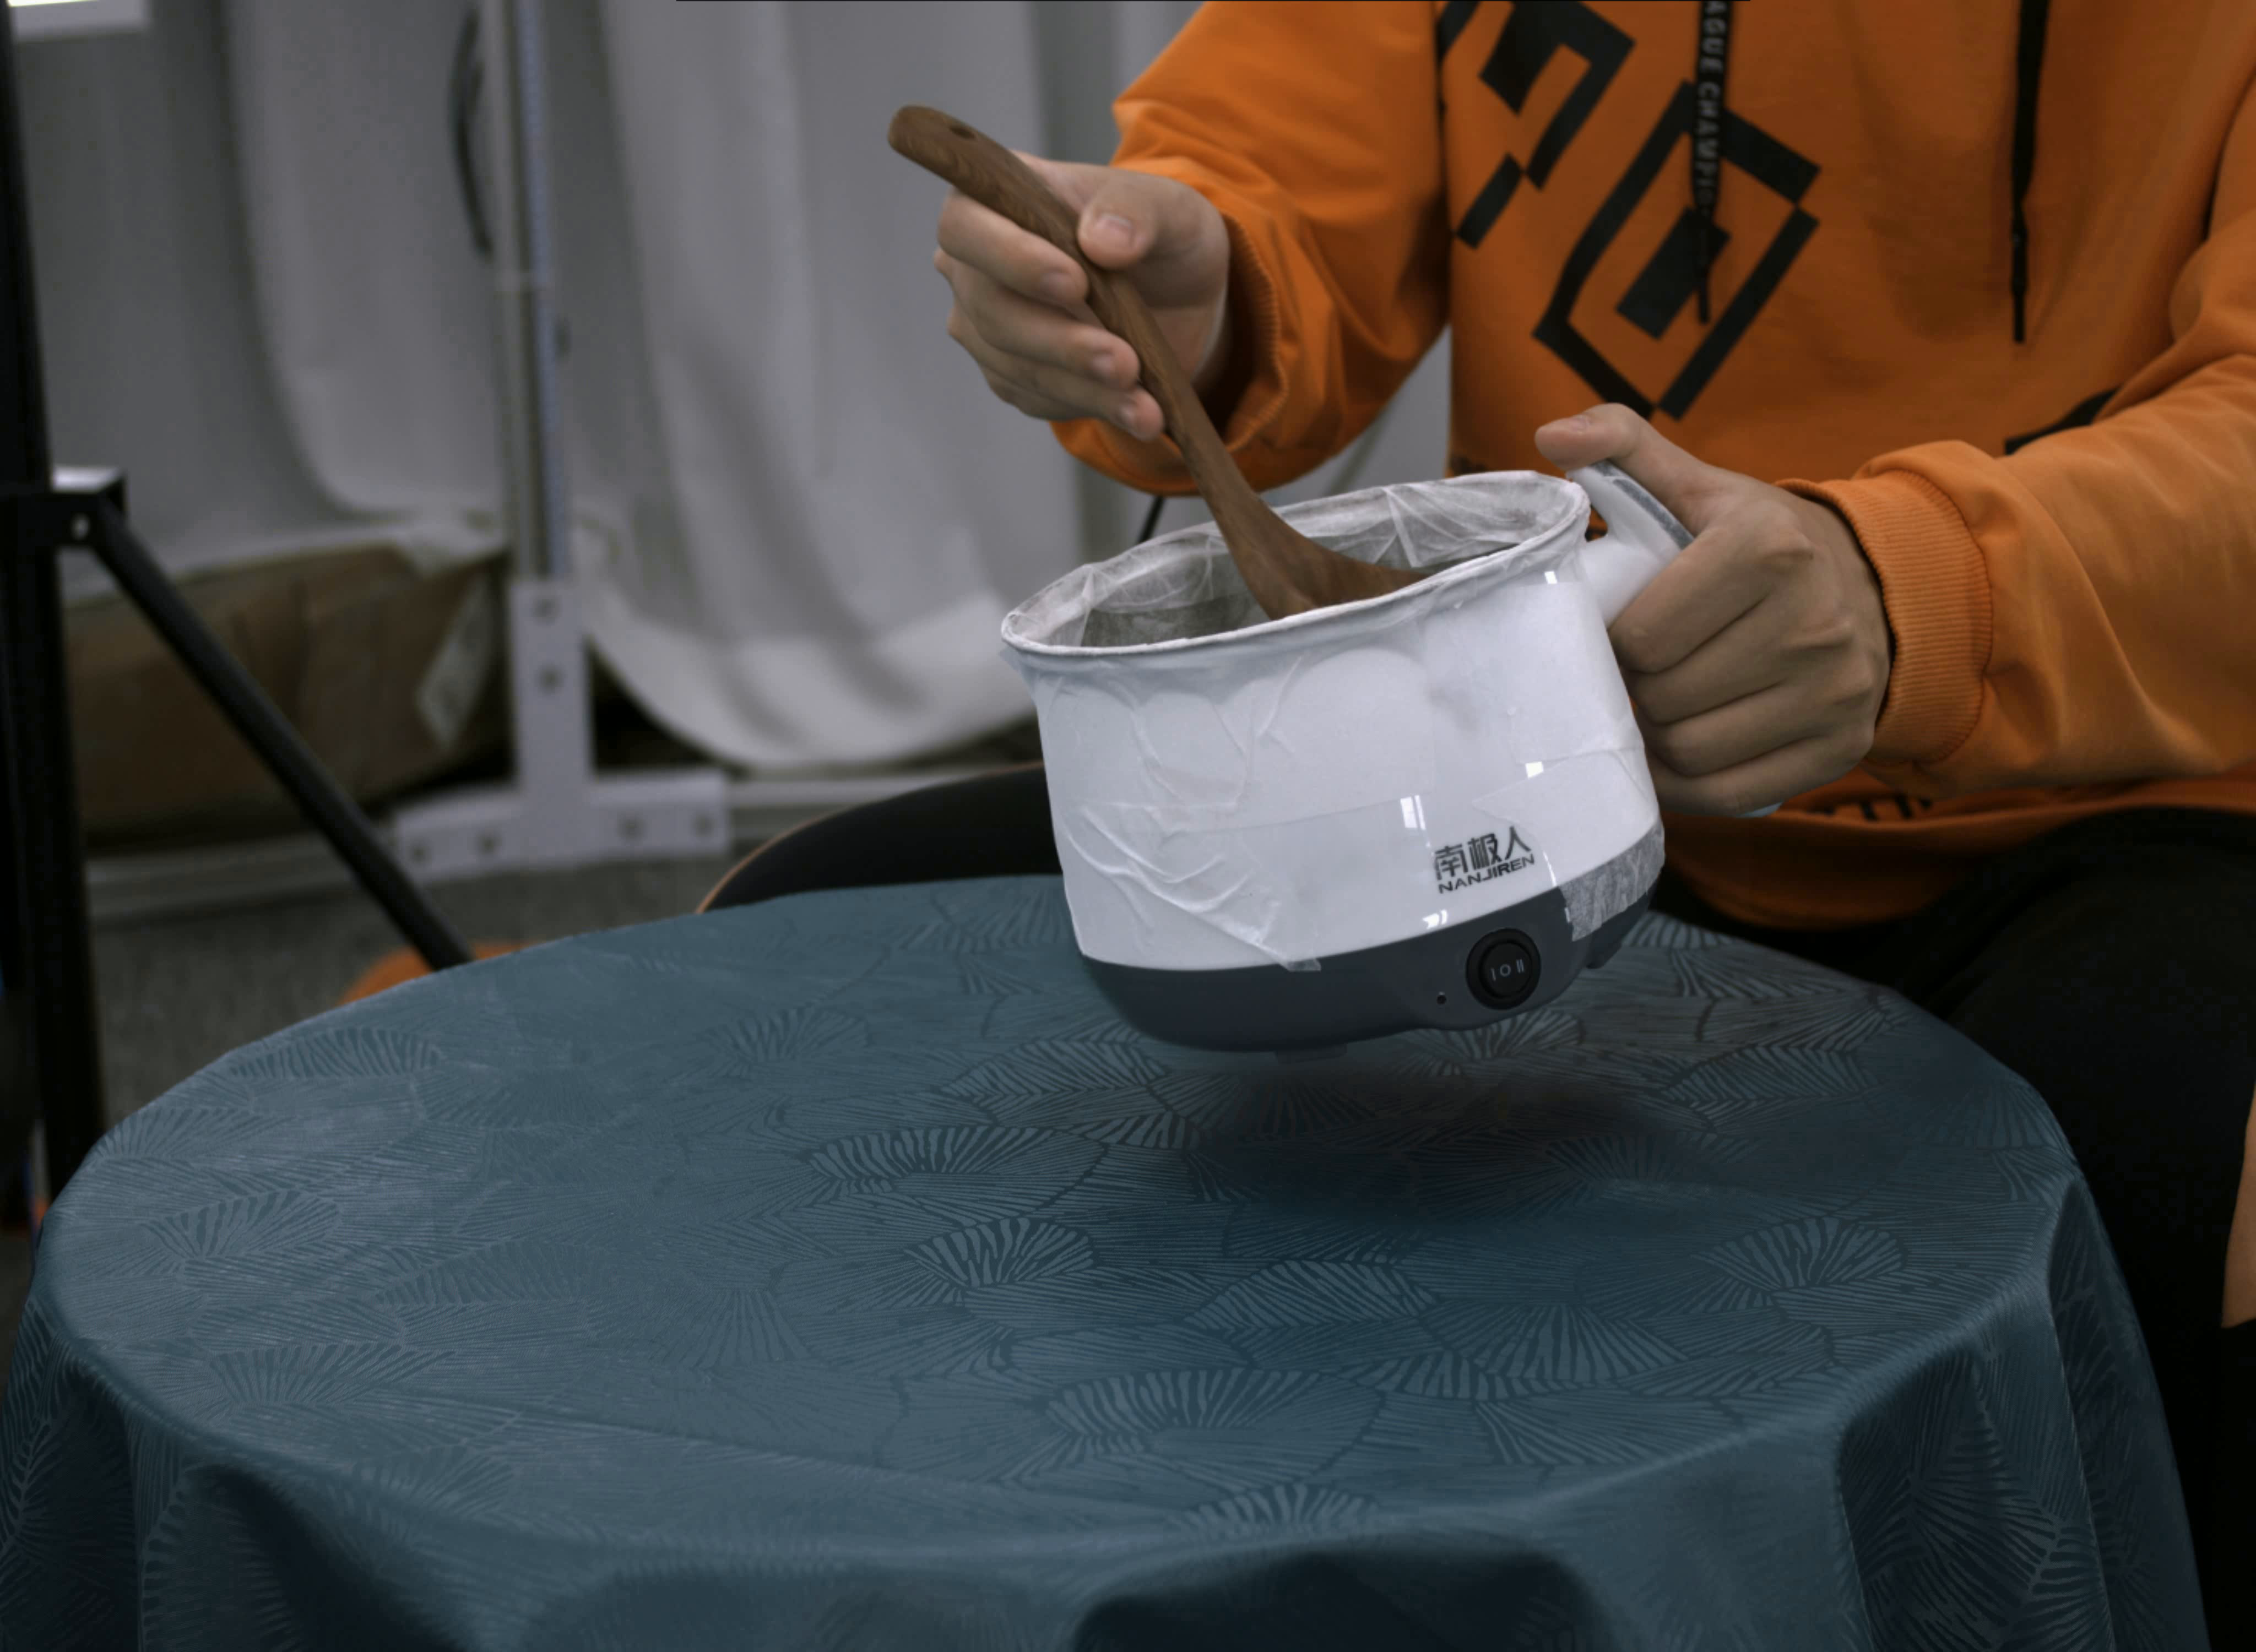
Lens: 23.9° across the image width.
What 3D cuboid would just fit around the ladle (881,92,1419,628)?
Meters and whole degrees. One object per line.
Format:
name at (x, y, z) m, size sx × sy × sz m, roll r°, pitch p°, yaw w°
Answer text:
ladle at (0.020, -0.140, 1.601) m, size 0.263 × 0.065 × 0.075 m, roll 53°, pitch 27°, yaw 16°

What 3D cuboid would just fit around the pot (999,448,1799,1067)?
pot at (0.087, -0.026, 1.575) m, size 0.230 × 0.136 × 0.182 m, roll -19°, pitch 14°, yaw -19°
